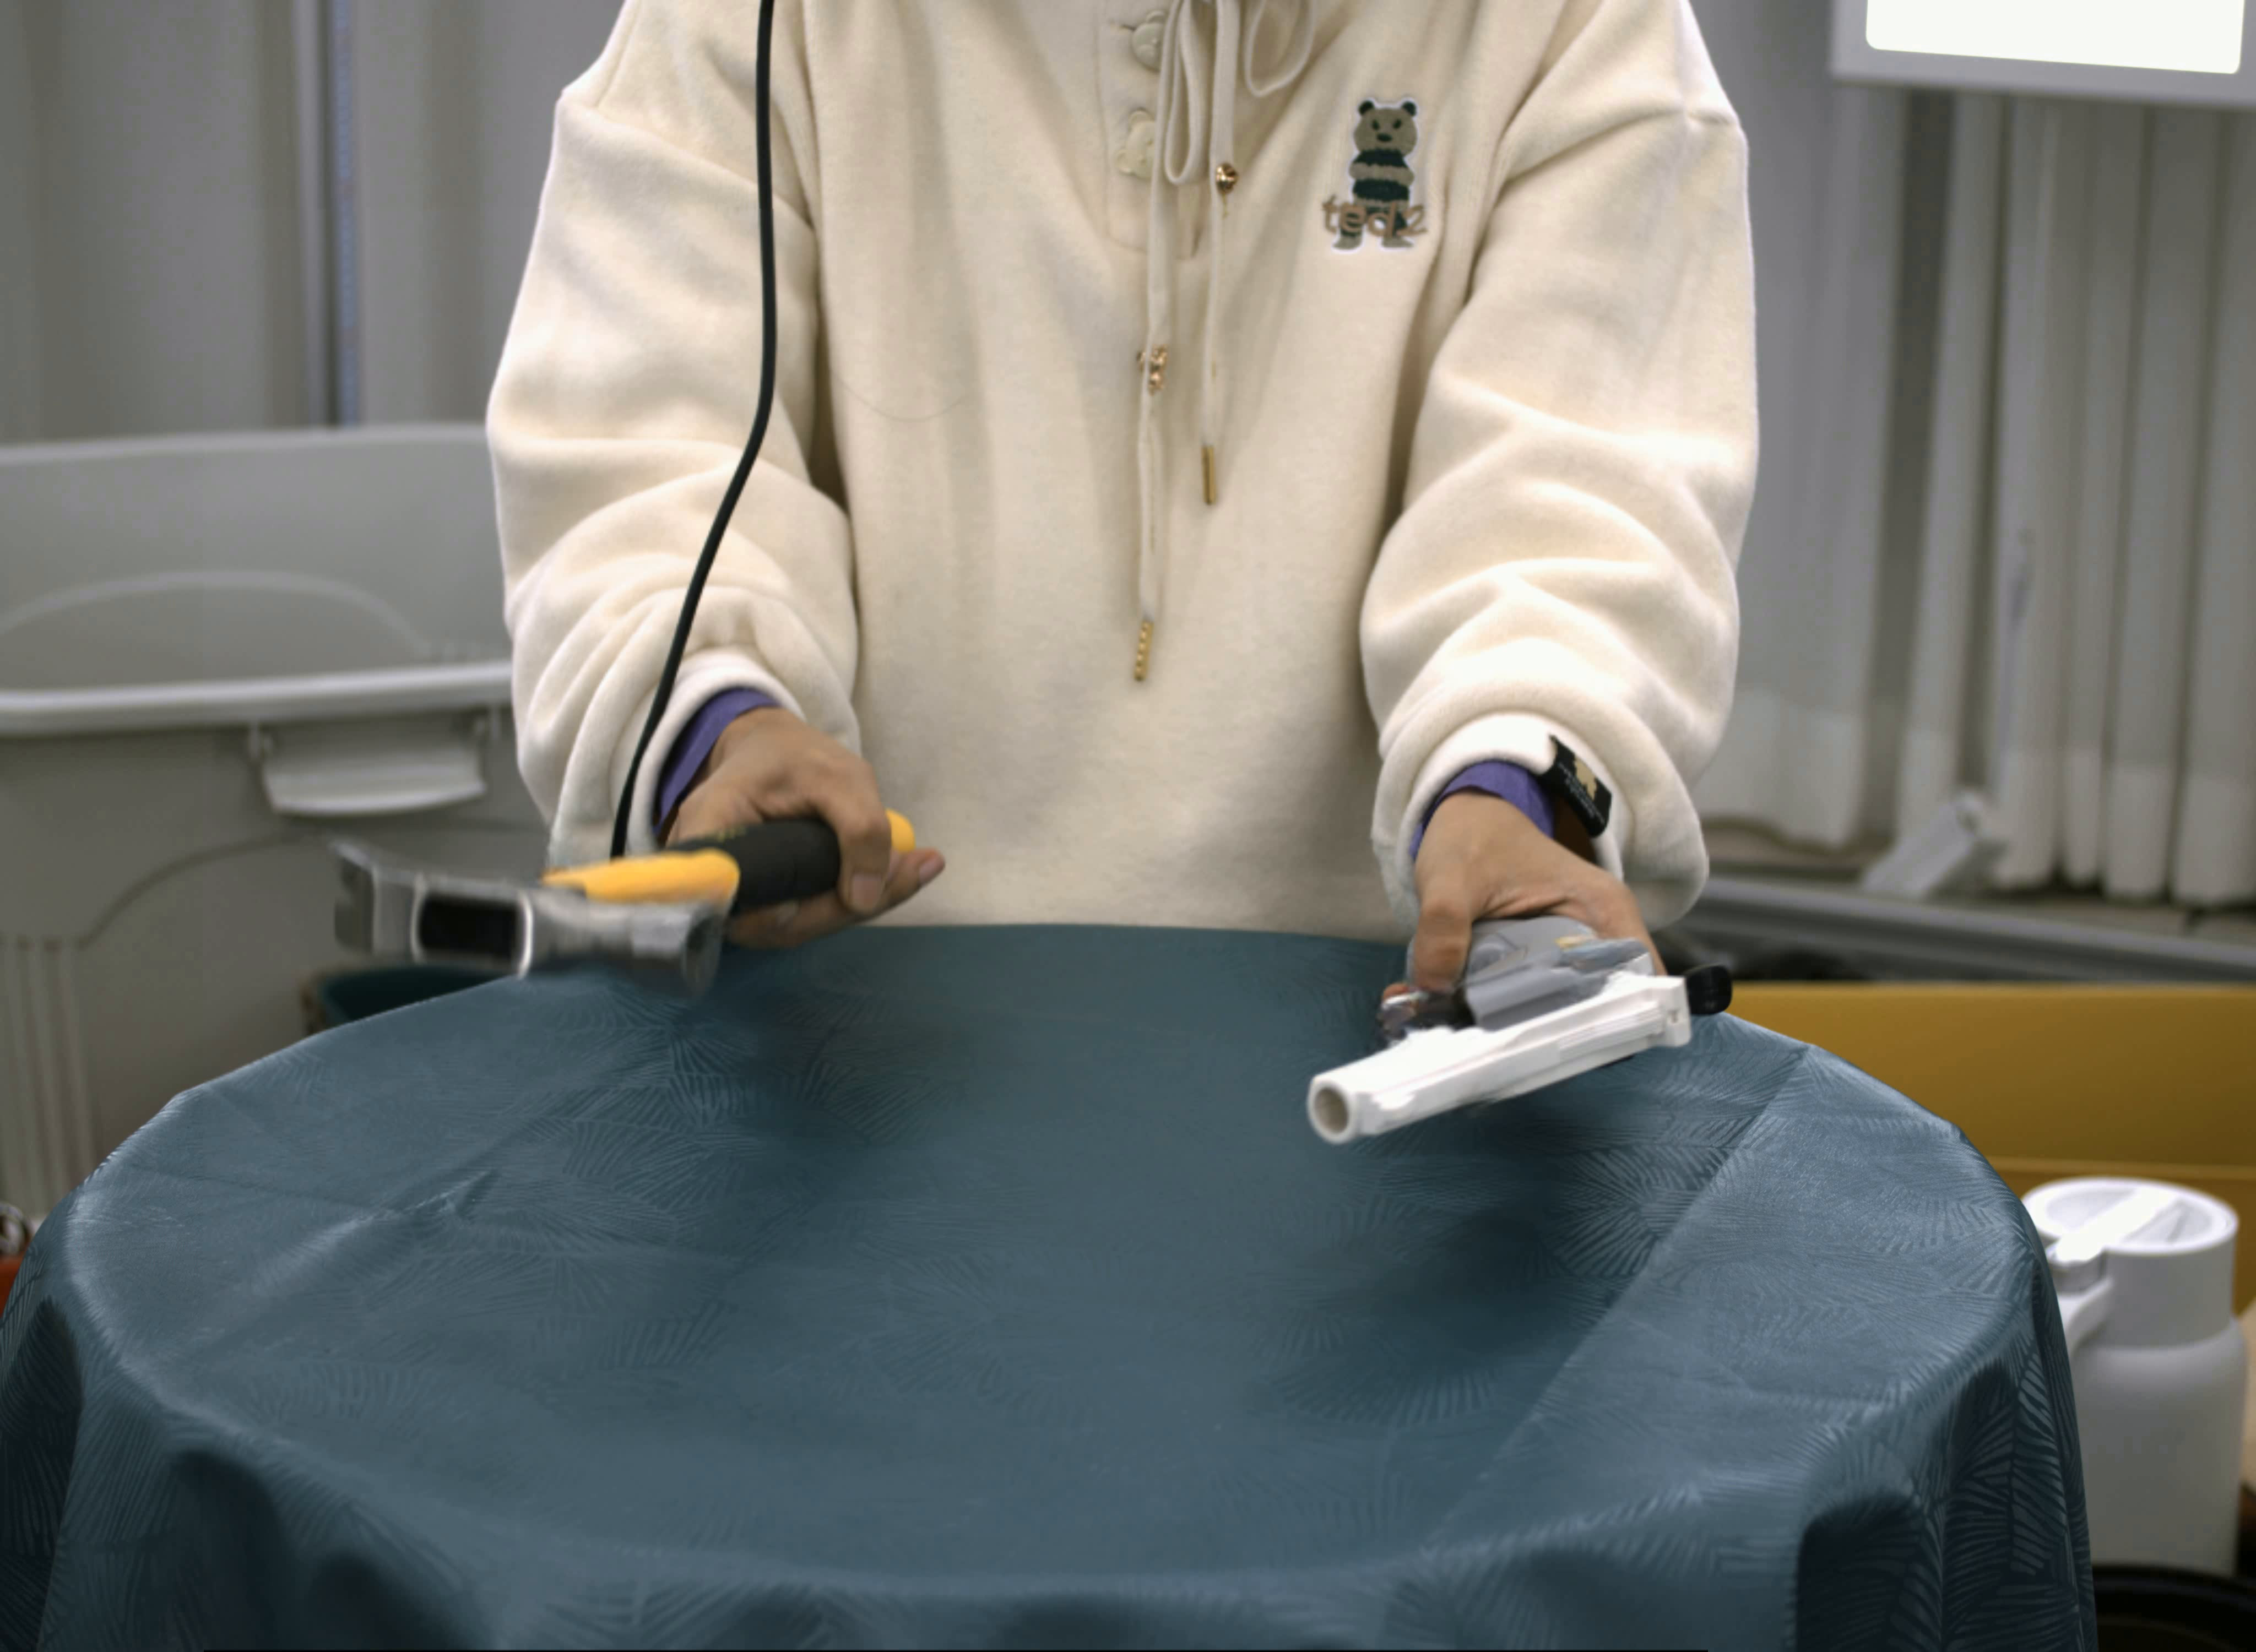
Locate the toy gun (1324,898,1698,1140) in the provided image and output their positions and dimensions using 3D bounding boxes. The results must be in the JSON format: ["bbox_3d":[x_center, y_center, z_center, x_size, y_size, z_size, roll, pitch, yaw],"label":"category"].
[{"bbox_3d":[0.098,0.057,1.580,0.140,0.039,0.210,3,13,43],"label":"toy gun"}]

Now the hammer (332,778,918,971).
[{"bbox_3d":[-0.135,0.009,1.610,0.130,0.032,0.339,3,5,16],"label":"hammer"}]
